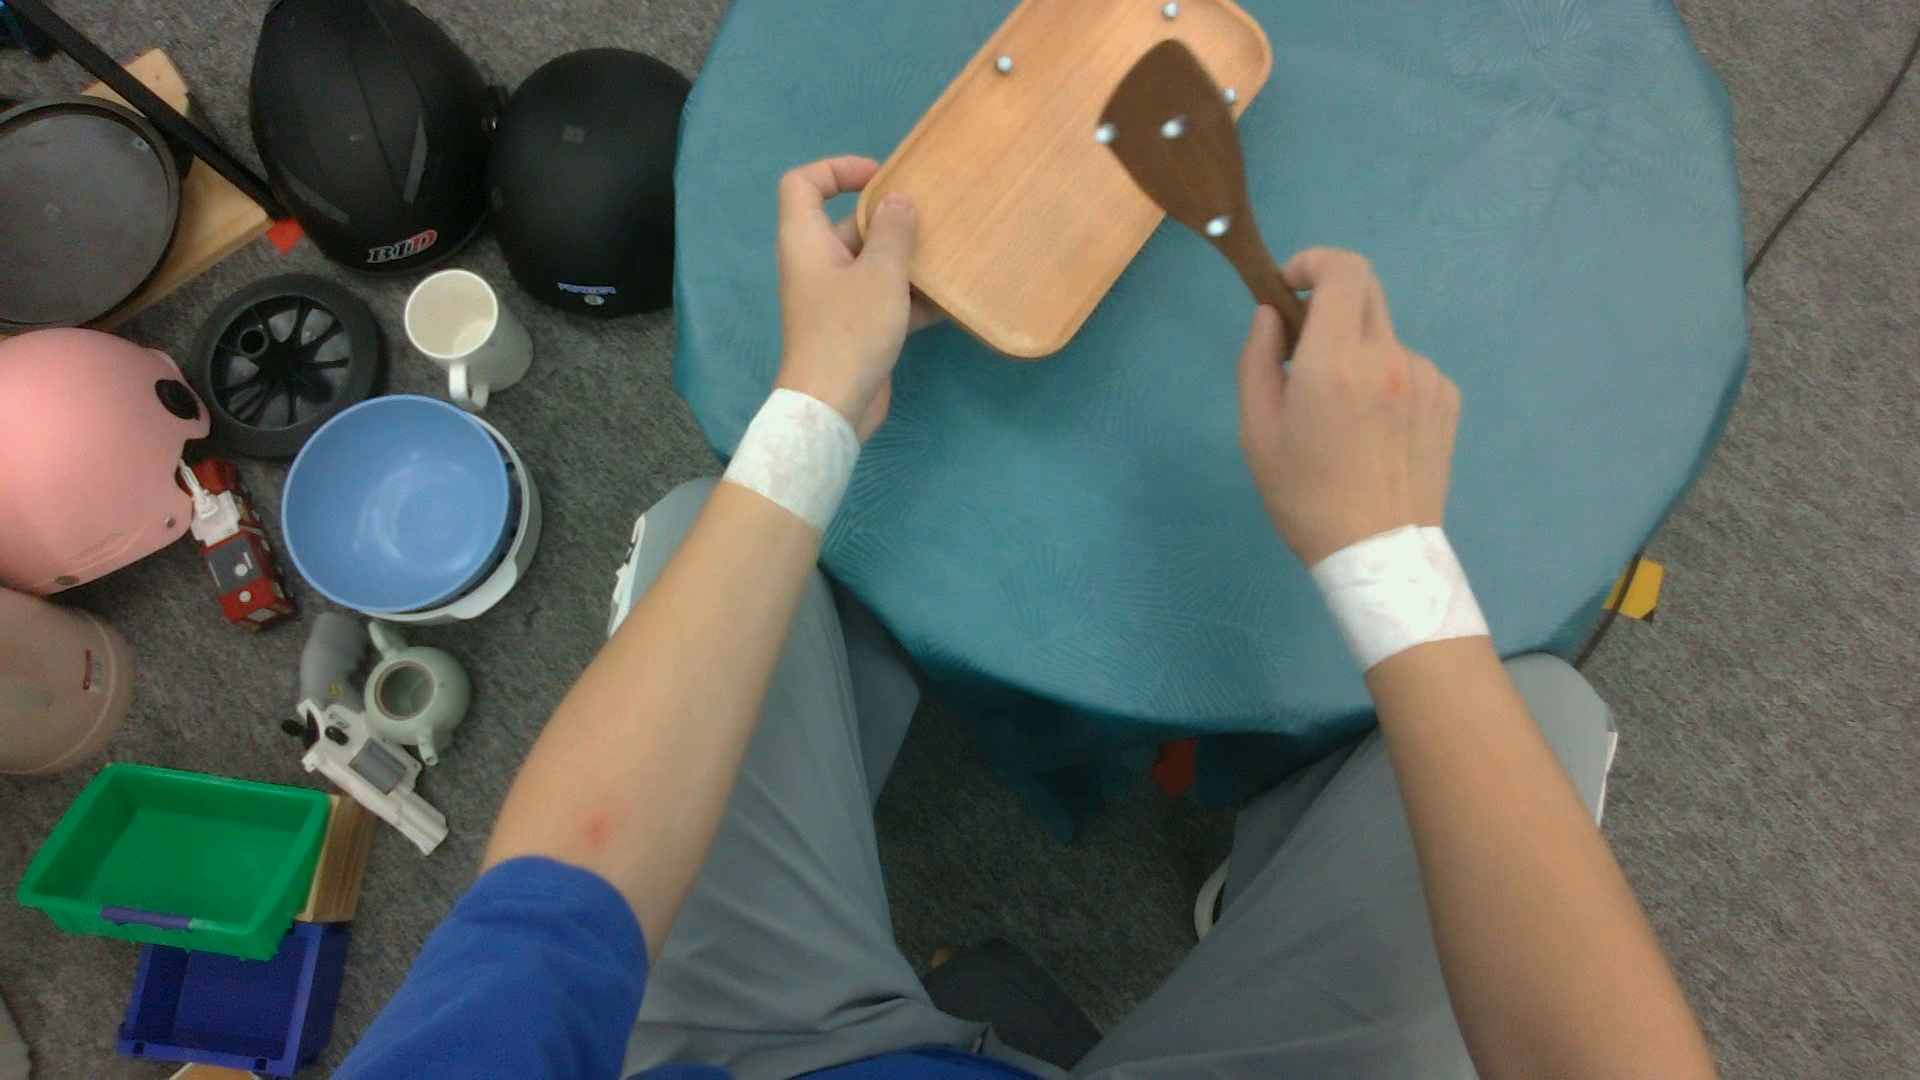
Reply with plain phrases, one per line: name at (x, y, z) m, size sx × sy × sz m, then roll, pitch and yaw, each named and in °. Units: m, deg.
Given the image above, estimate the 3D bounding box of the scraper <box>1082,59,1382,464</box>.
scraper at (0.131, -0.126, 0.647) m, size 0.011 × 0.075 × 0.211 m, roll -32°, pitch 86°, yaw -29°

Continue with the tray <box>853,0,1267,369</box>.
tray at (0.057, -0.207, 0.729) m, size 0.130 × 0.023 × 0.251 m, roll 37°, pitch 72°, yaw 3°
